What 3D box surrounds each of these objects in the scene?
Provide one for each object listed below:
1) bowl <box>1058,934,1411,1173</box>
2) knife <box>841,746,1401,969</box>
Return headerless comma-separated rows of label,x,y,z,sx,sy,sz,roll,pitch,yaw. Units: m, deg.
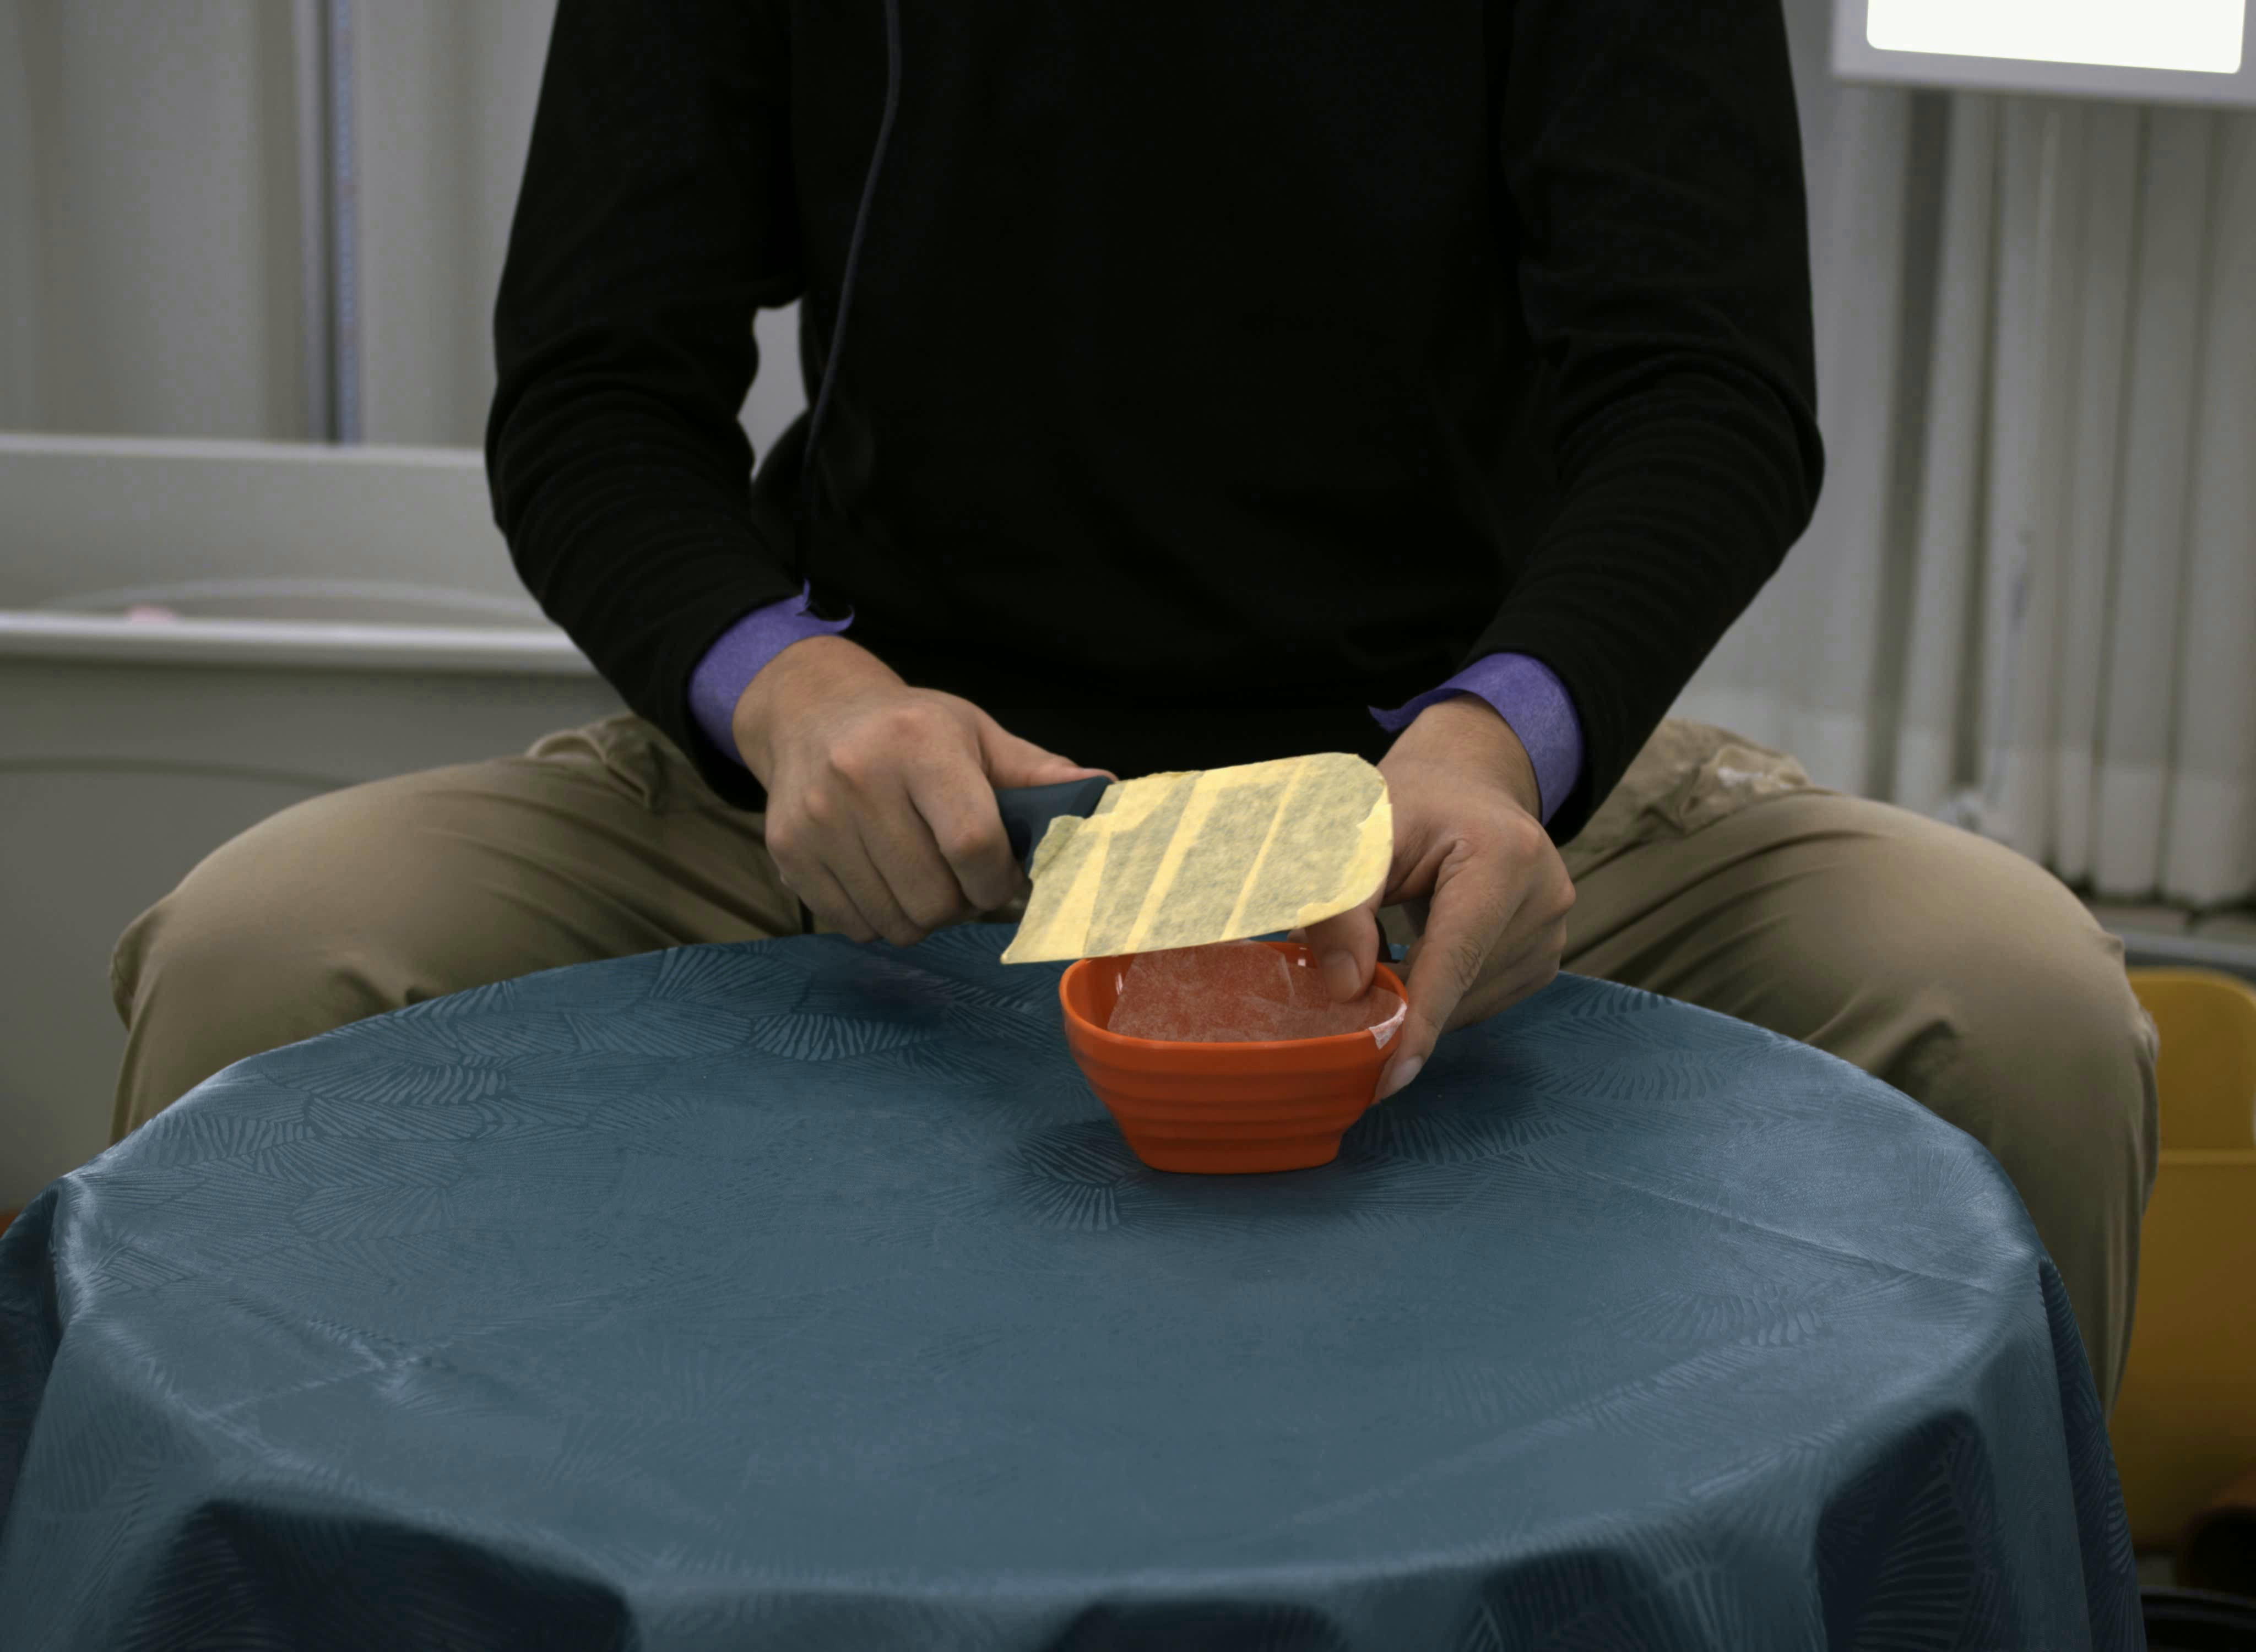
bowl,0.034,0.074,1.662,0.118,0.052,0.118,-1,17,1
knife,-0.008,0.014,1.721,0.287,0.027,0.081,-7,47,51
